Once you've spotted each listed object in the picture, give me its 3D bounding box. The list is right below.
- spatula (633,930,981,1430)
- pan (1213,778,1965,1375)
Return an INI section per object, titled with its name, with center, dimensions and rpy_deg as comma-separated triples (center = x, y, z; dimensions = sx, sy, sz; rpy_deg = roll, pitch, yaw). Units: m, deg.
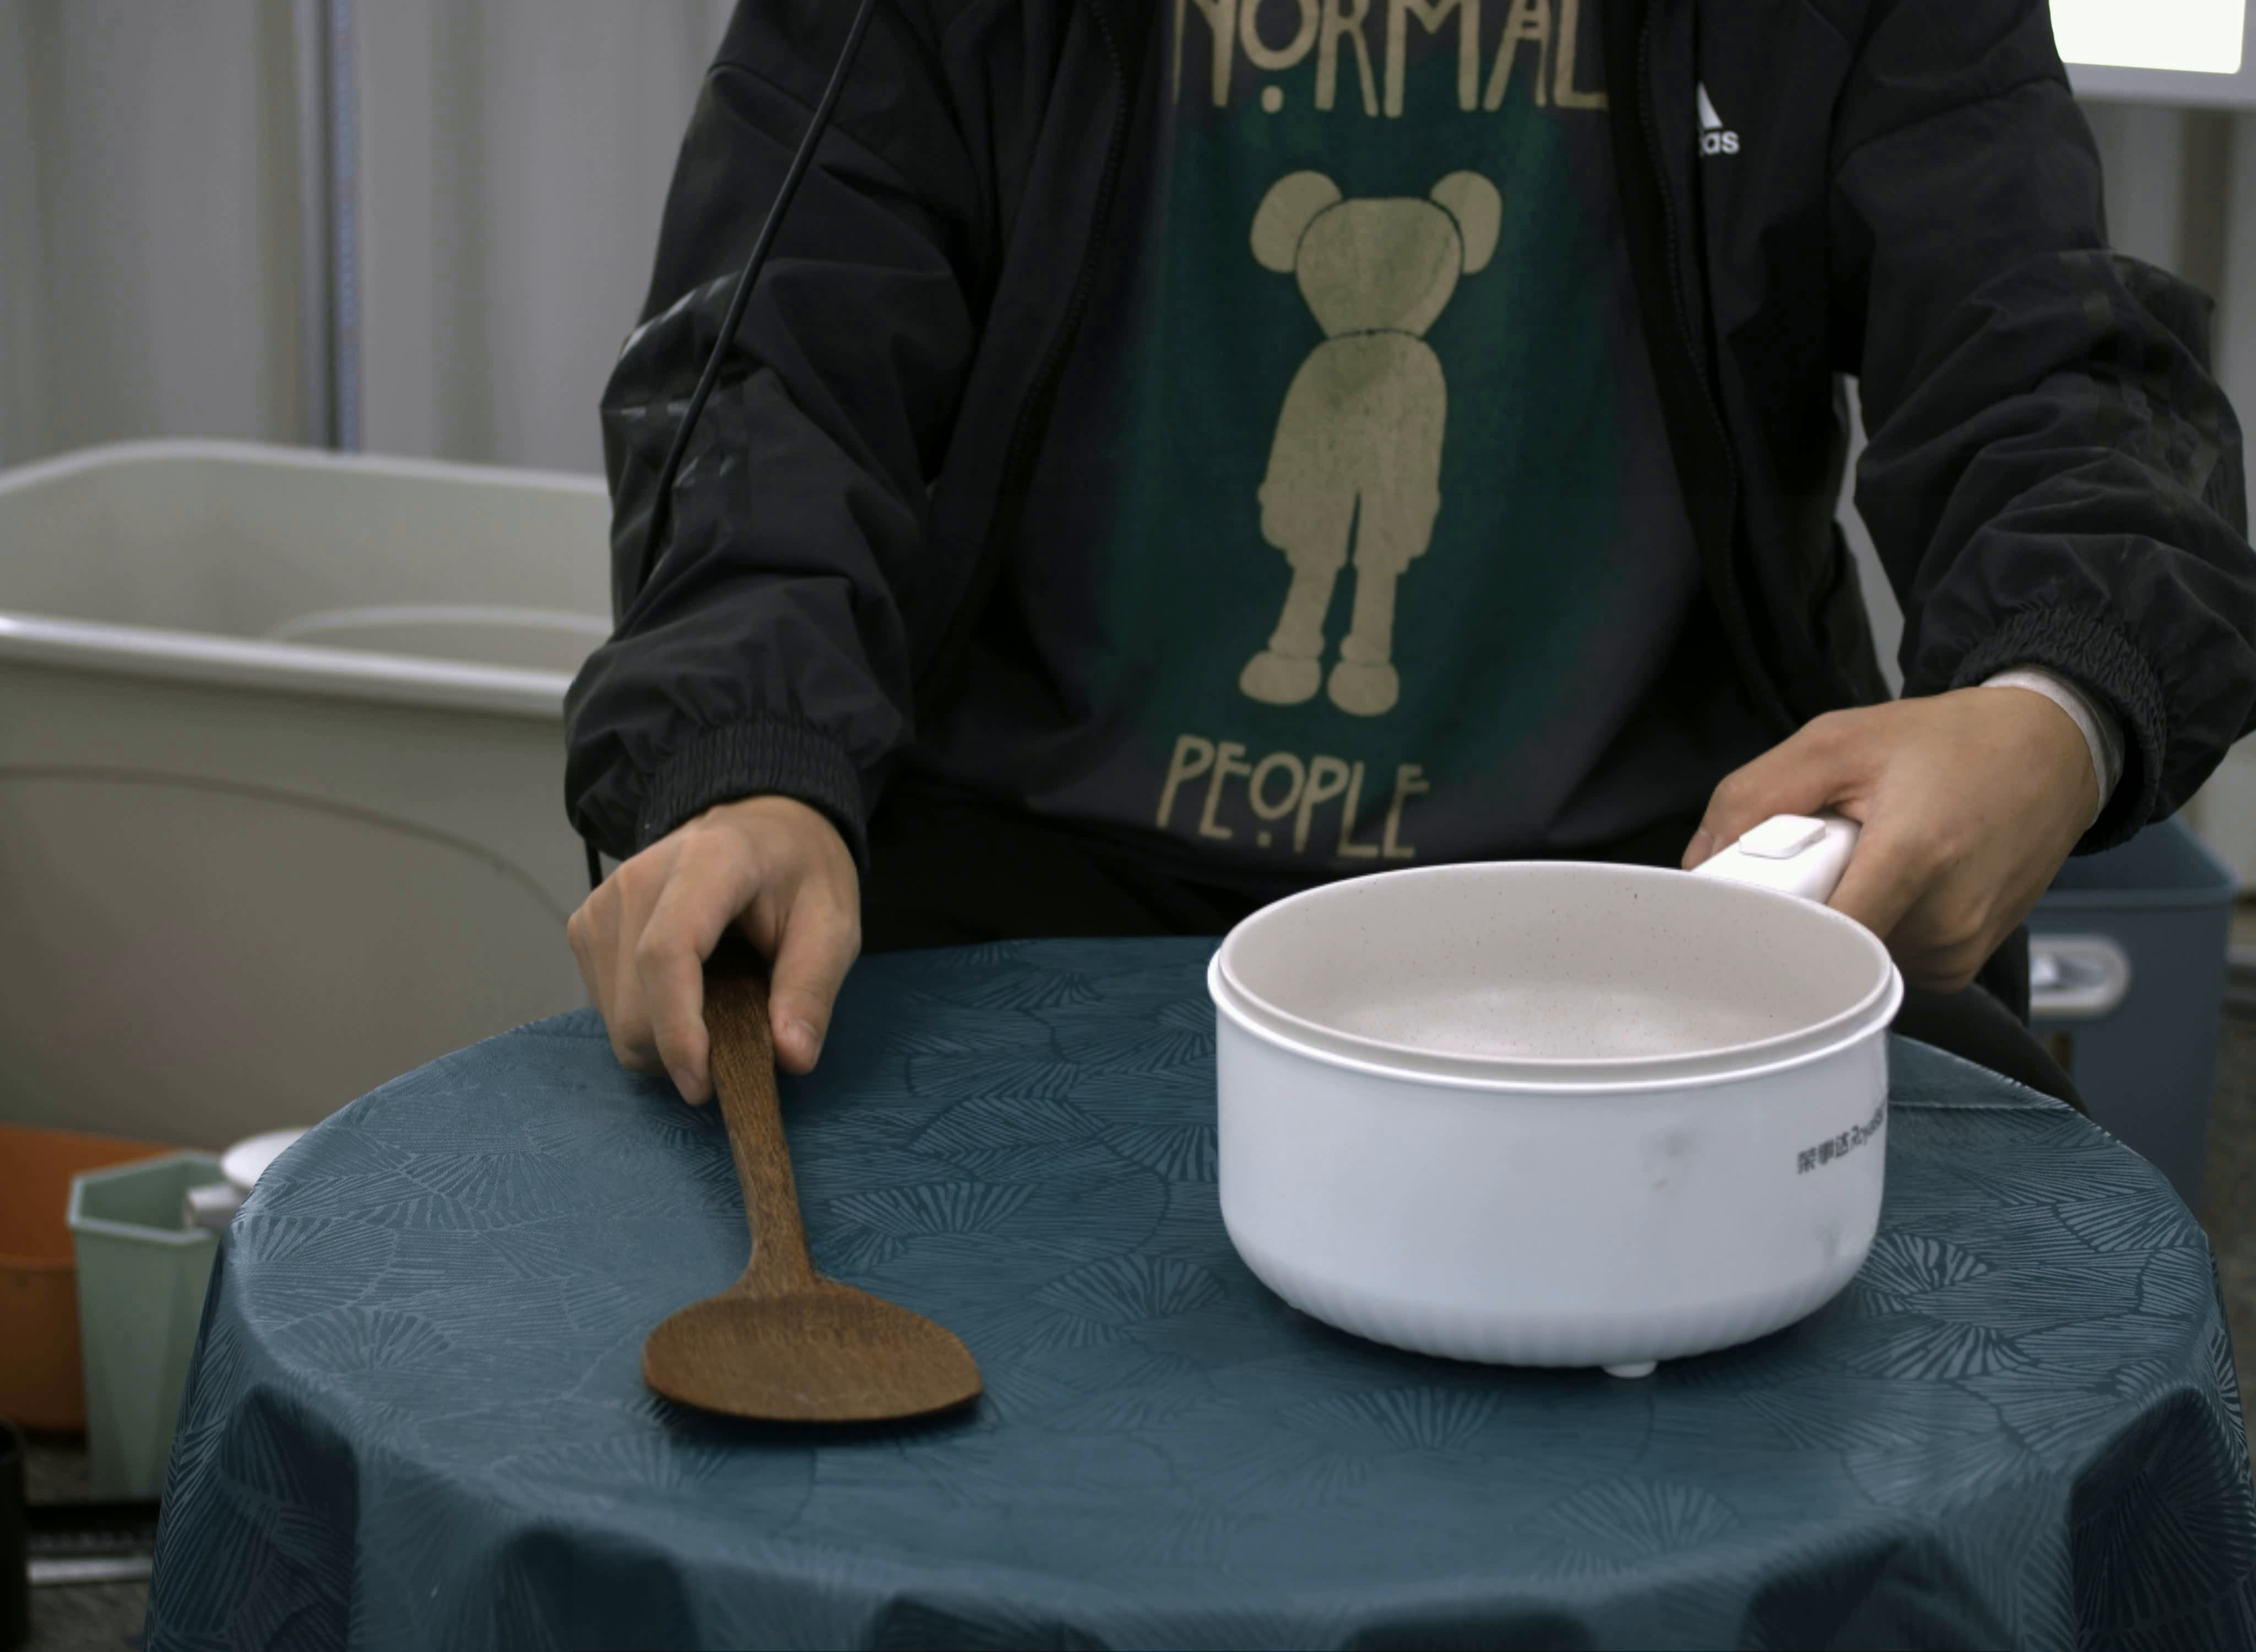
[spatula]
center = -0.112, 0.099, 1.596
dimensions = 0.096, 0.016, 0.382
rpy_deg = 3, 19, -10
[pan]
center = 0.164, 0.069, 1.598
dimensions = 0.199, 0.103, 0.356
rpy_deg = 9, 17, 30
